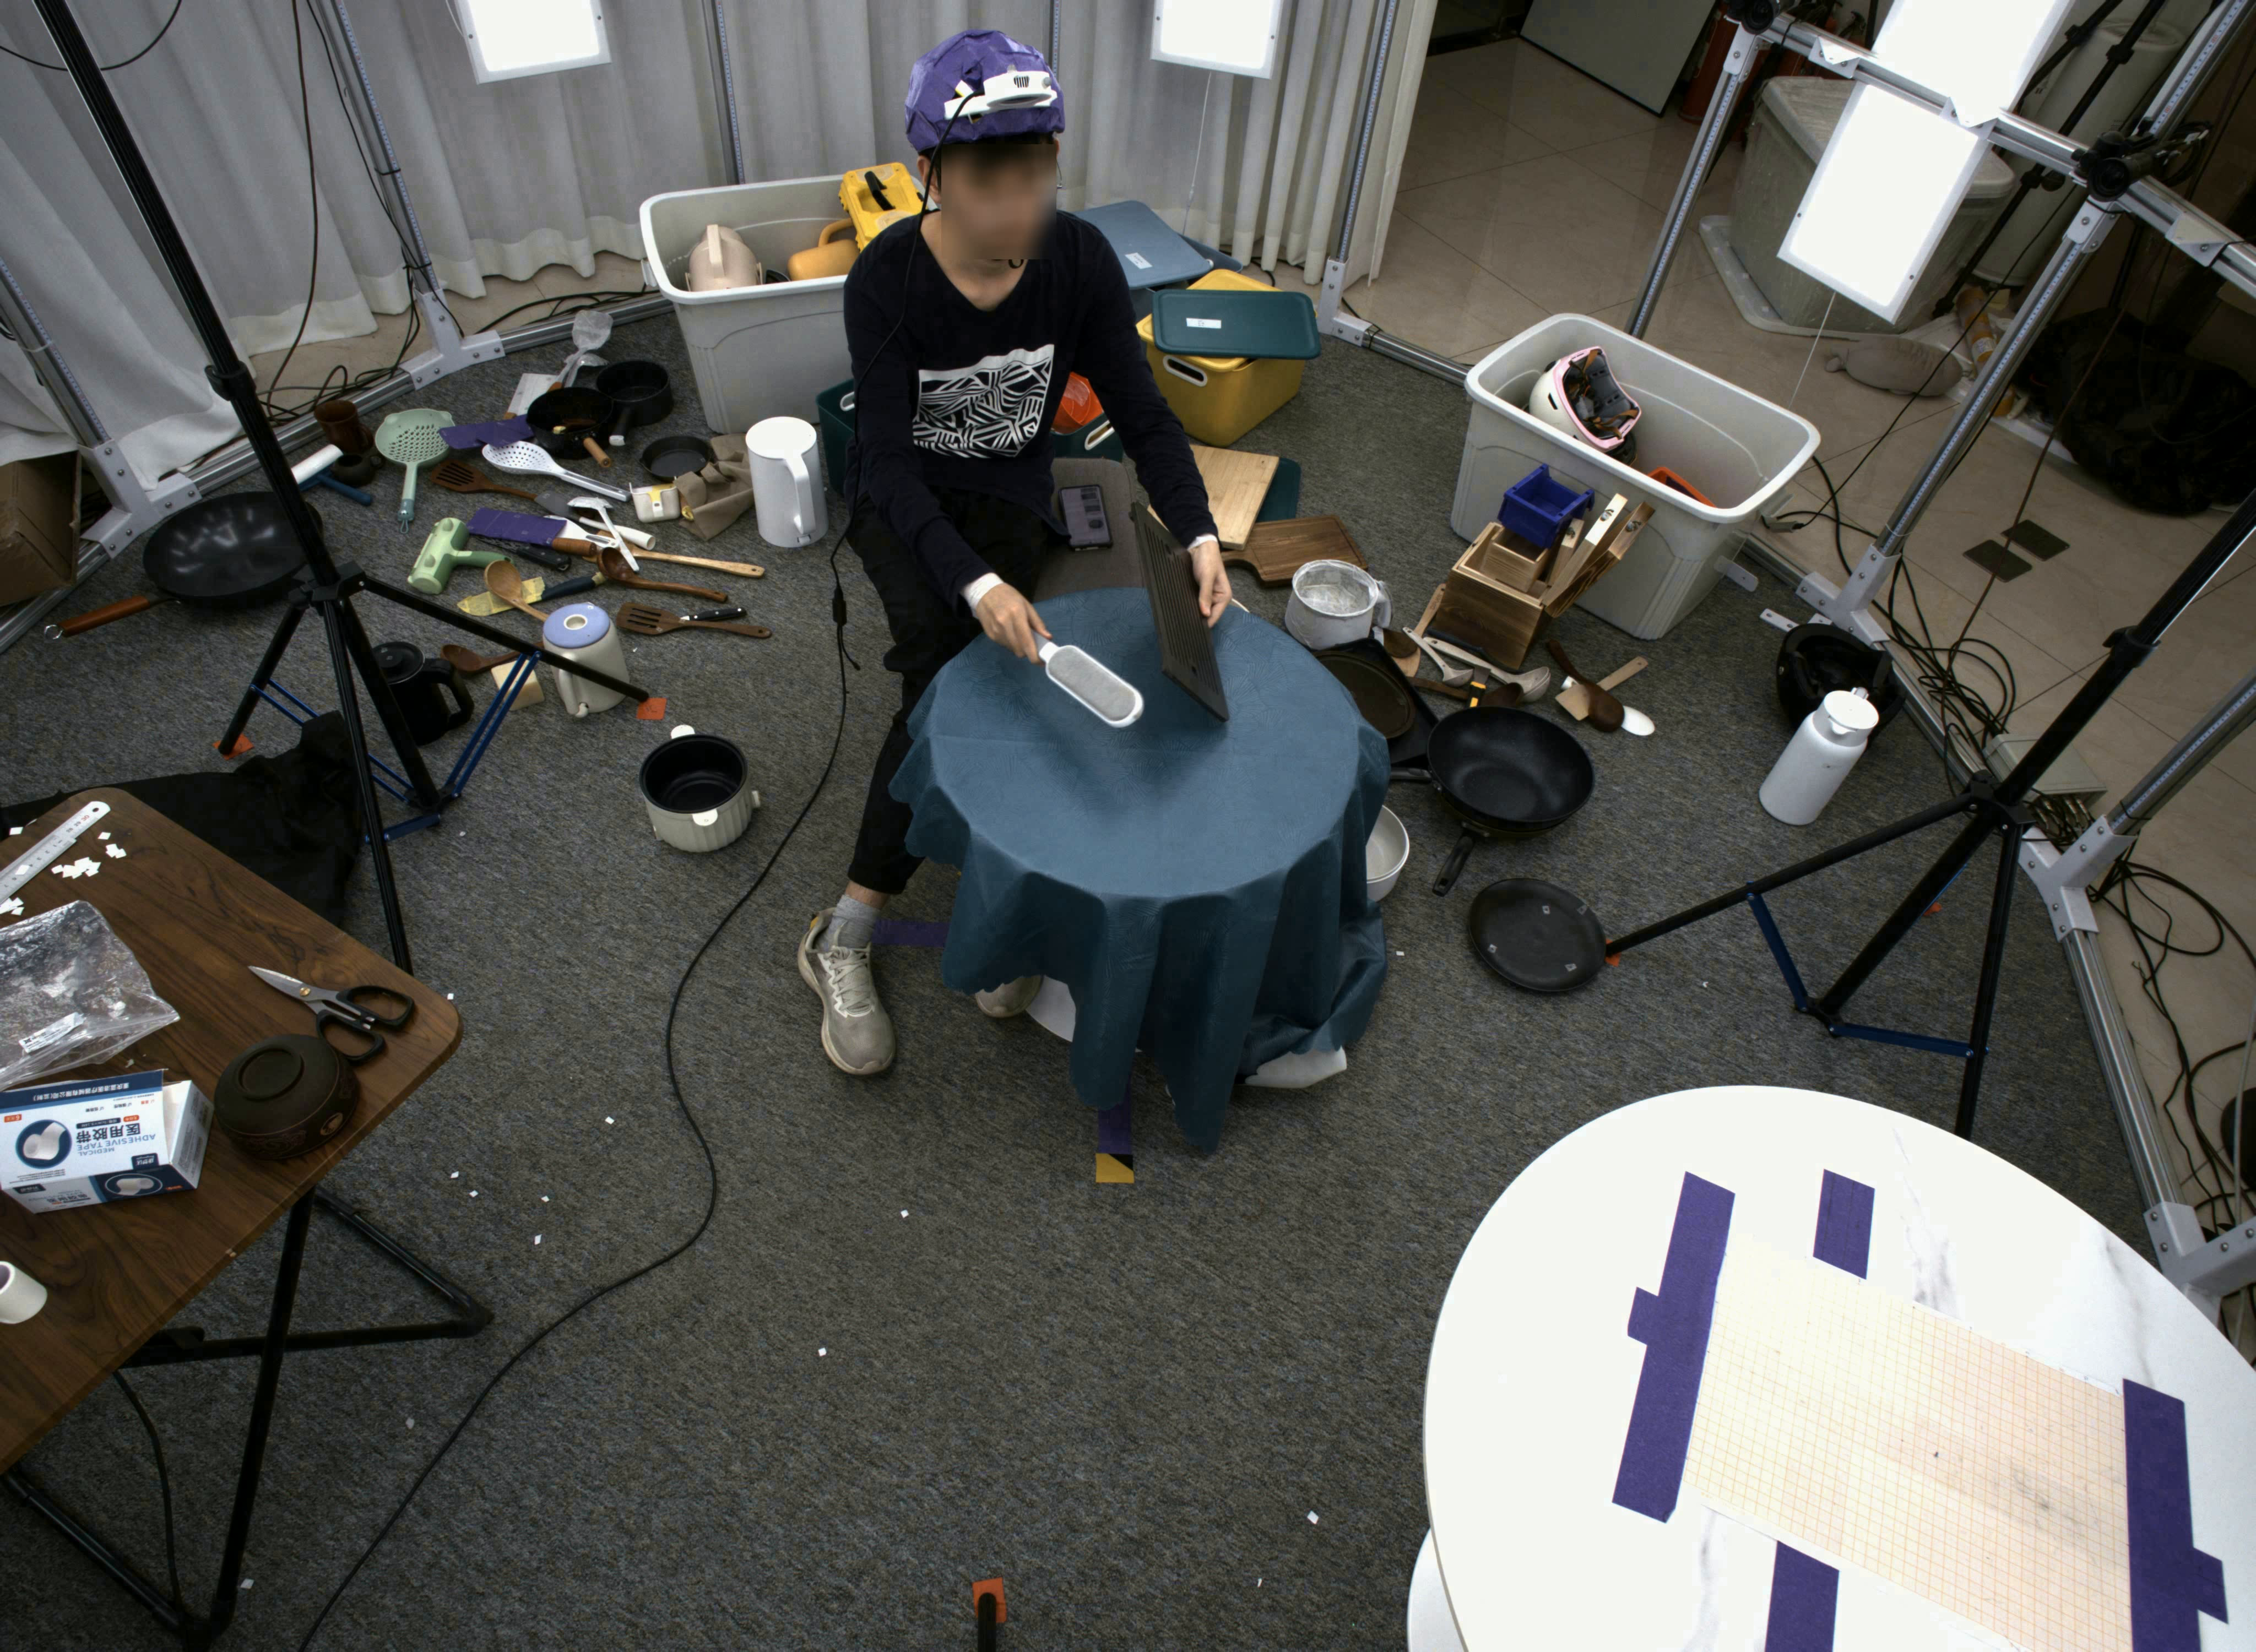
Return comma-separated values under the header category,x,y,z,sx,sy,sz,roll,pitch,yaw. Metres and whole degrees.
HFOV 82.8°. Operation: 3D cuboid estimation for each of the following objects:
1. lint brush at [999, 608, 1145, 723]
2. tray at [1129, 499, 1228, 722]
category,x,y,z,sx,sy,sz,roll,pitch,yaw
lint brush,-0.082,-0.226,1.743,0.060,0.020,0.314,-50,52,-1
tray,0.069,-0.301,1.804,0.018,0.167,0.313,-24,58,24
